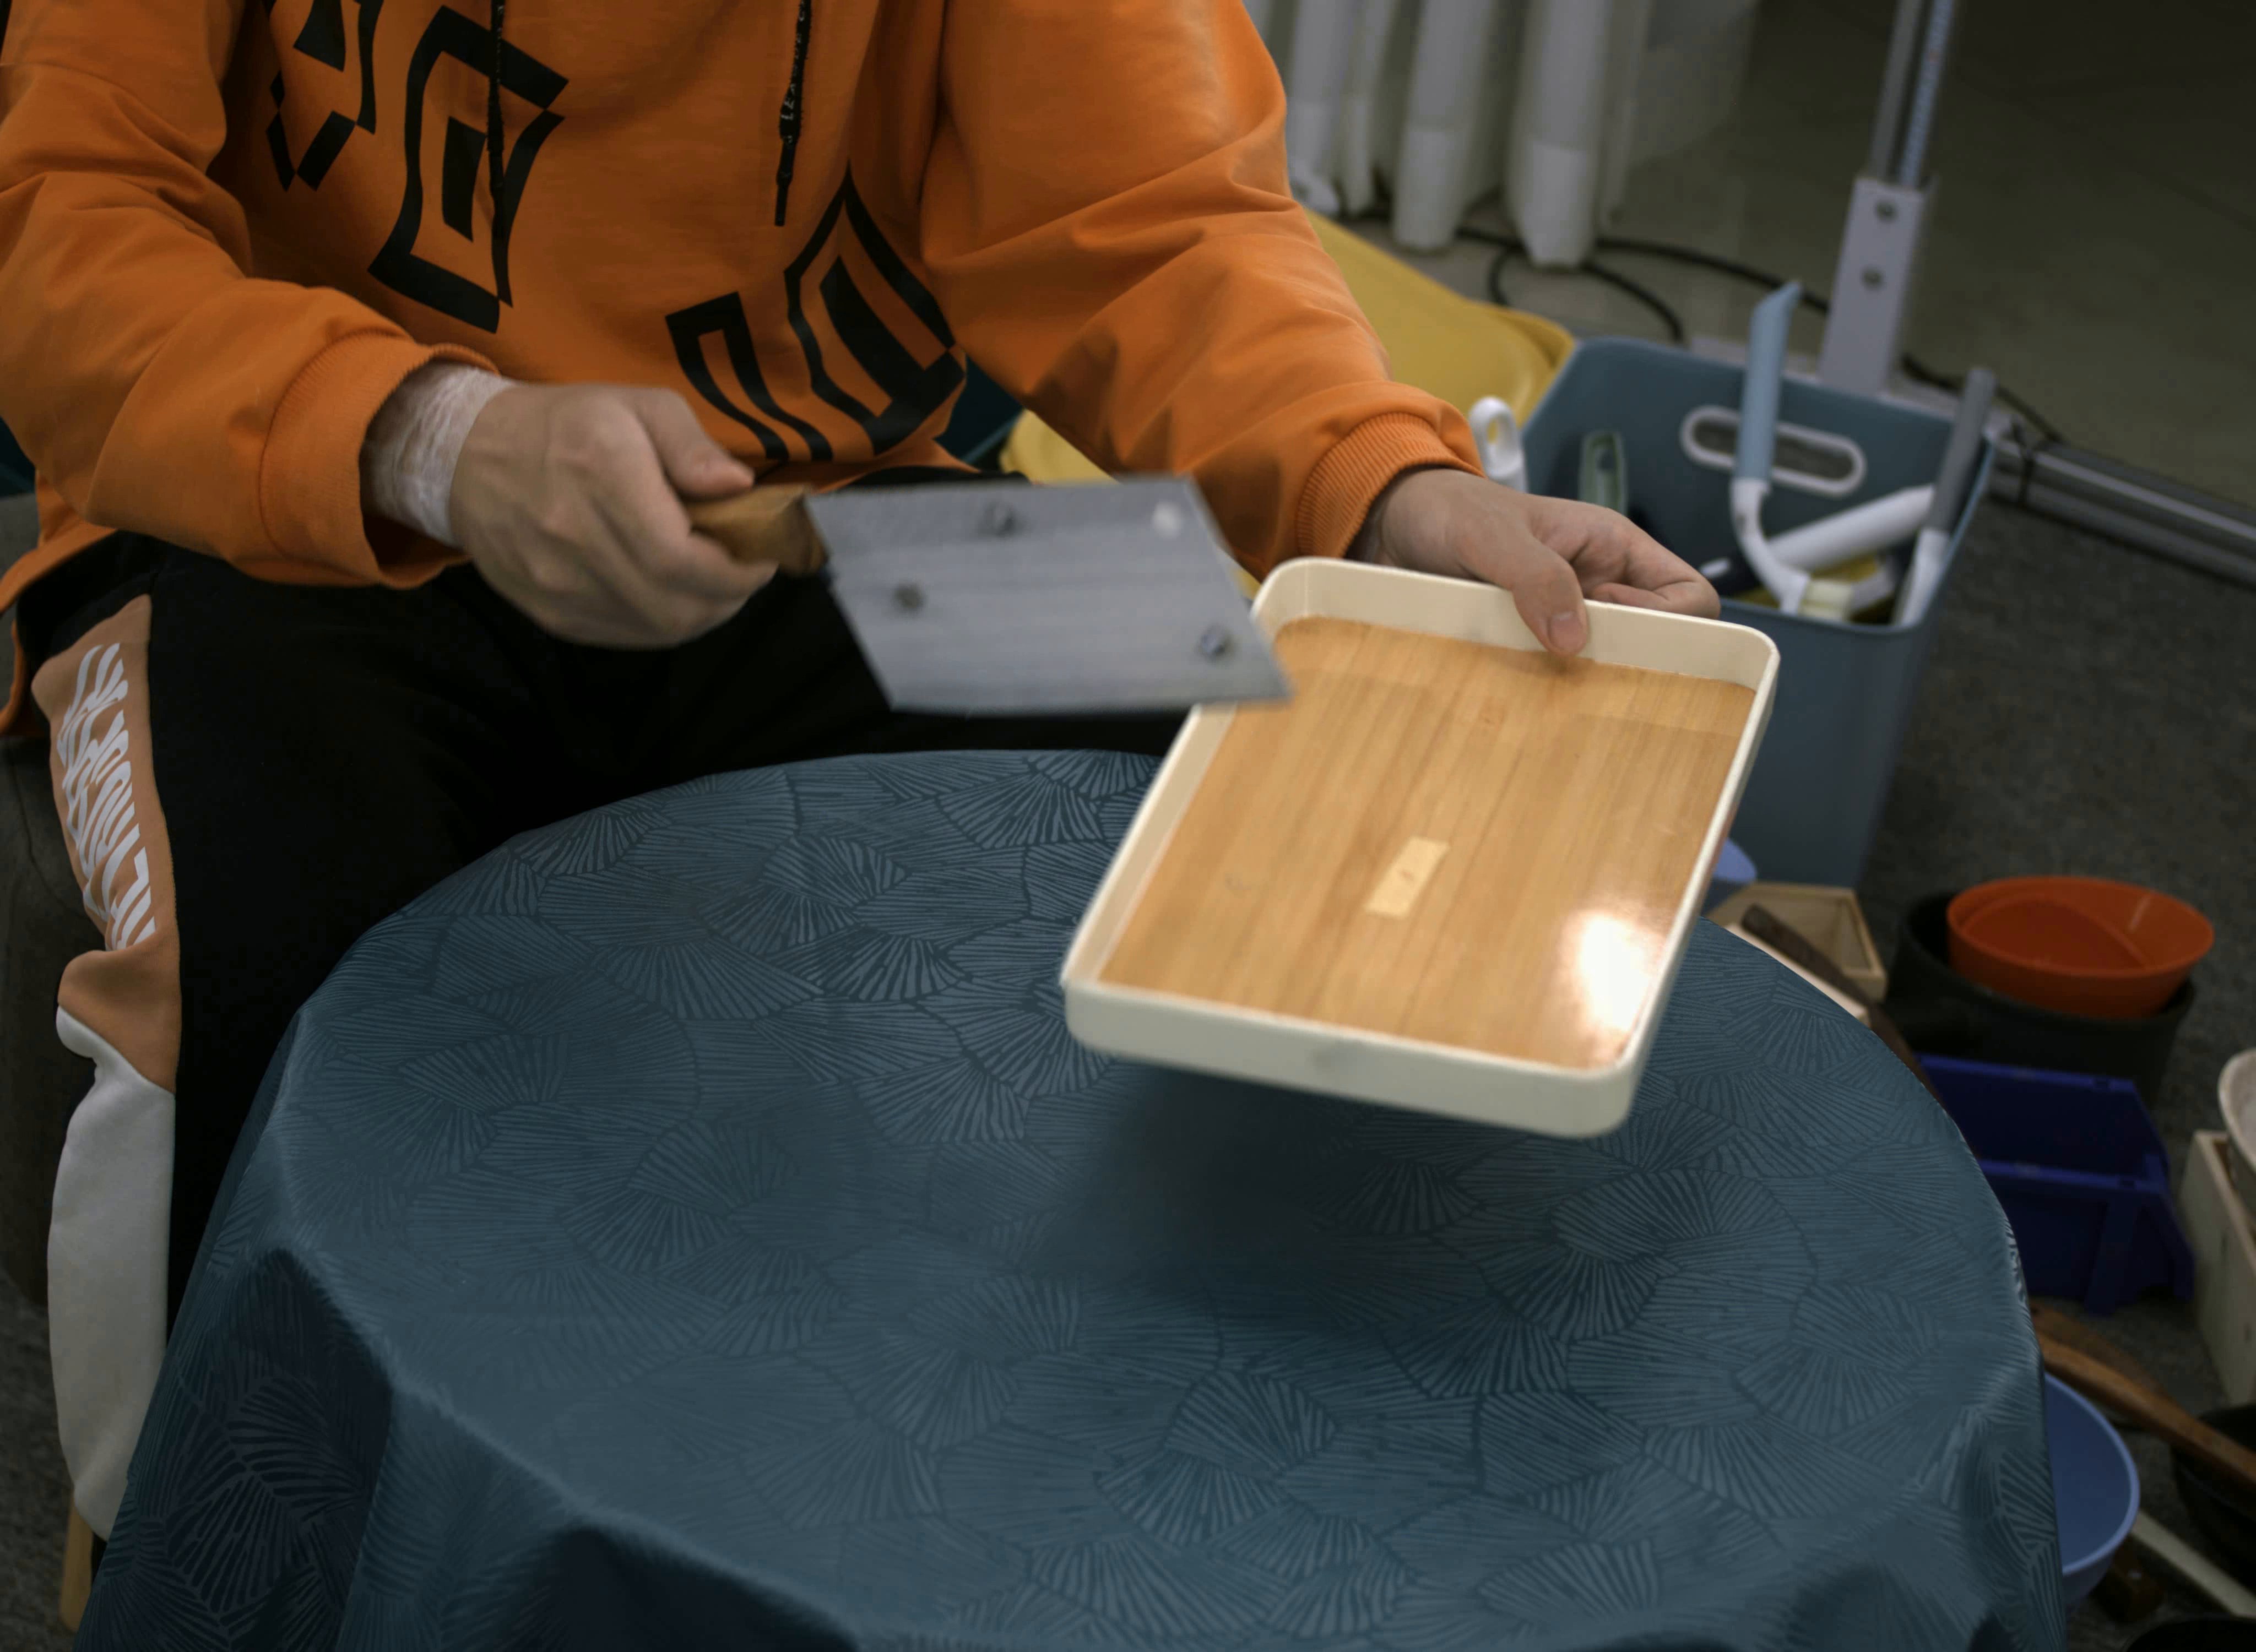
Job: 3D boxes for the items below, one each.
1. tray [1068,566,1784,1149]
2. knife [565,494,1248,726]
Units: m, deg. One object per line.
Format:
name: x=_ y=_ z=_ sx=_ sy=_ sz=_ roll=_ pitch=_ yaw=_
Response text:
tray: x=0.108 y=0.004 z=1.821 sx=0.192 sy=0.027 sz=0.301 roll=8 pitch=34 yaw=14
knife: x=-0.076 y=-0.072 z=1.797 sx=0.307 sy=0.092 sz=0.021 roll=2 pitch=38 yaw=46
